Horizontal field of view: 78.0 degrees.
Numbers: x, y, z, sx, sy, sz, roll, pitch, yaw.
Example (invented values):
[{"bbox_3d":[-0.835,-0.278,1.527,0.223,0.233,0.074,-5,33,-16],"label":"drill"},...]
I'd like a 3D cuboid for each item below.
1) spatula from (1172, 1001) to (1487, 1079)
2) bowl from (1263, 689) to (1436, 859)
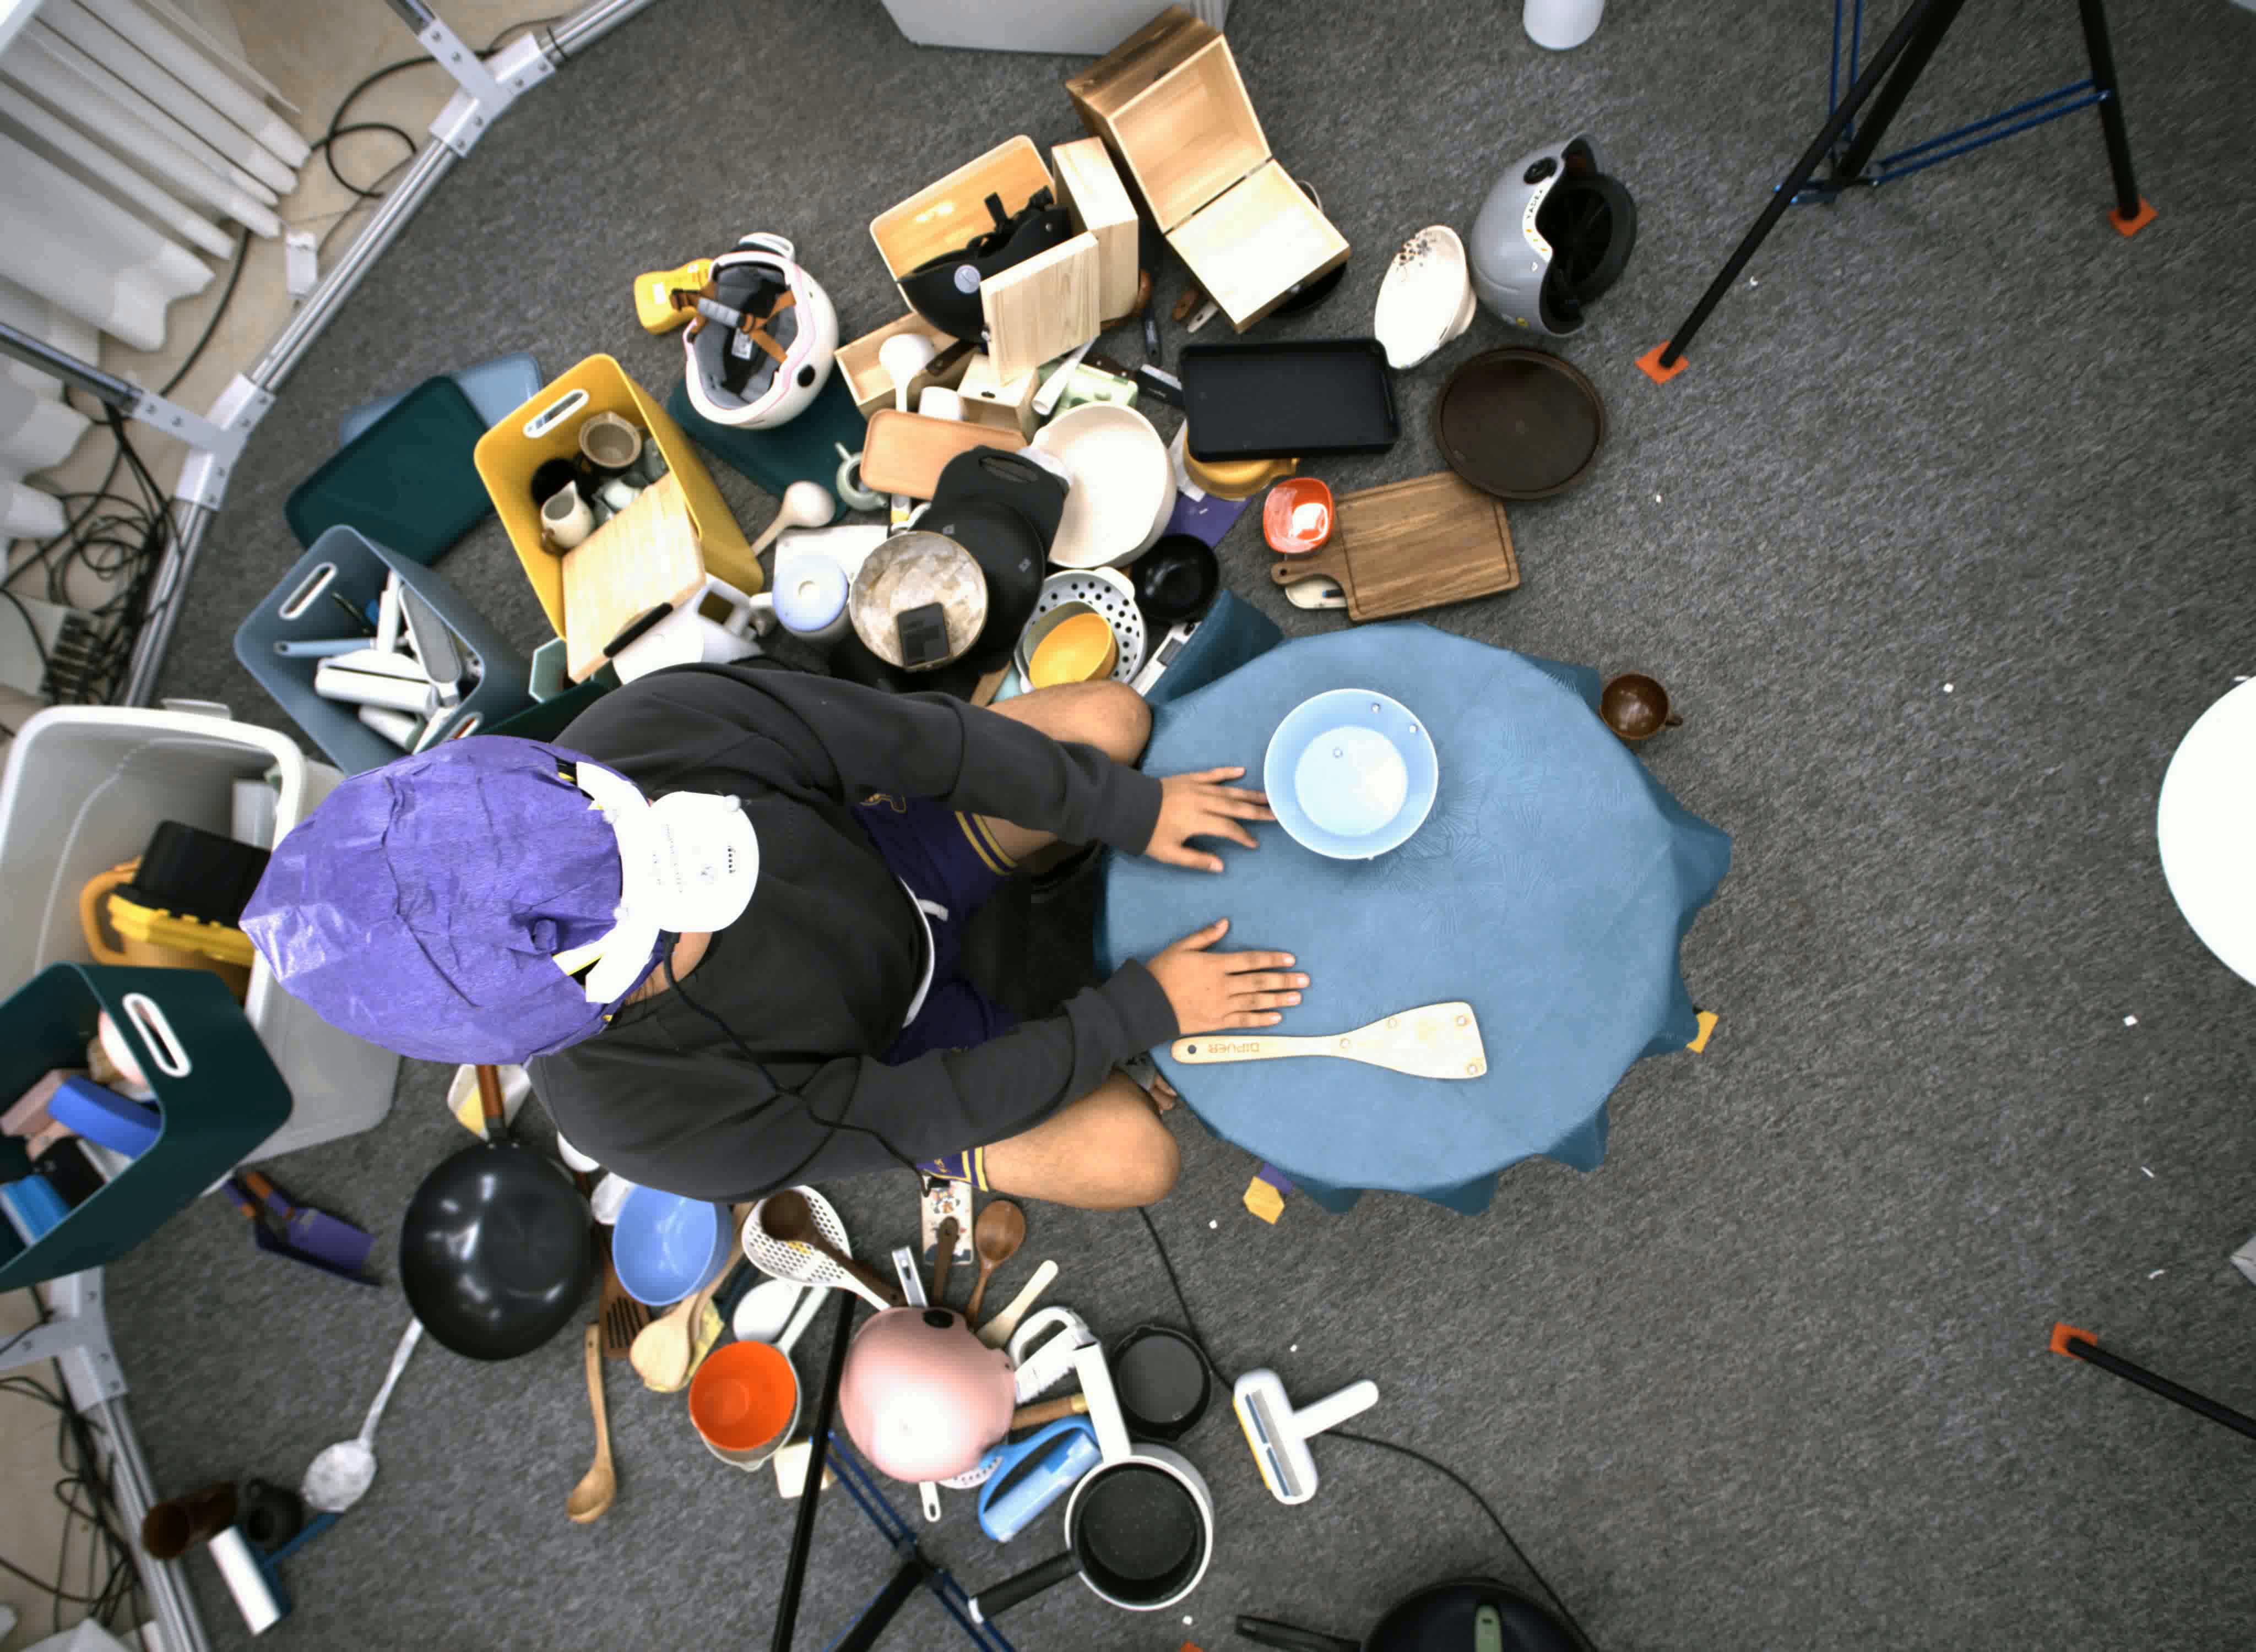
[{"bbox_3d":[0.208,0.227,1.454,0.329,0.016,0.079,-4,87,11],"label":"spatula"},{"bbox_3d":[0.230,-0.051,1.438,0.177,0.070,0.175,-1,86,10],"label":"bowl"}]
